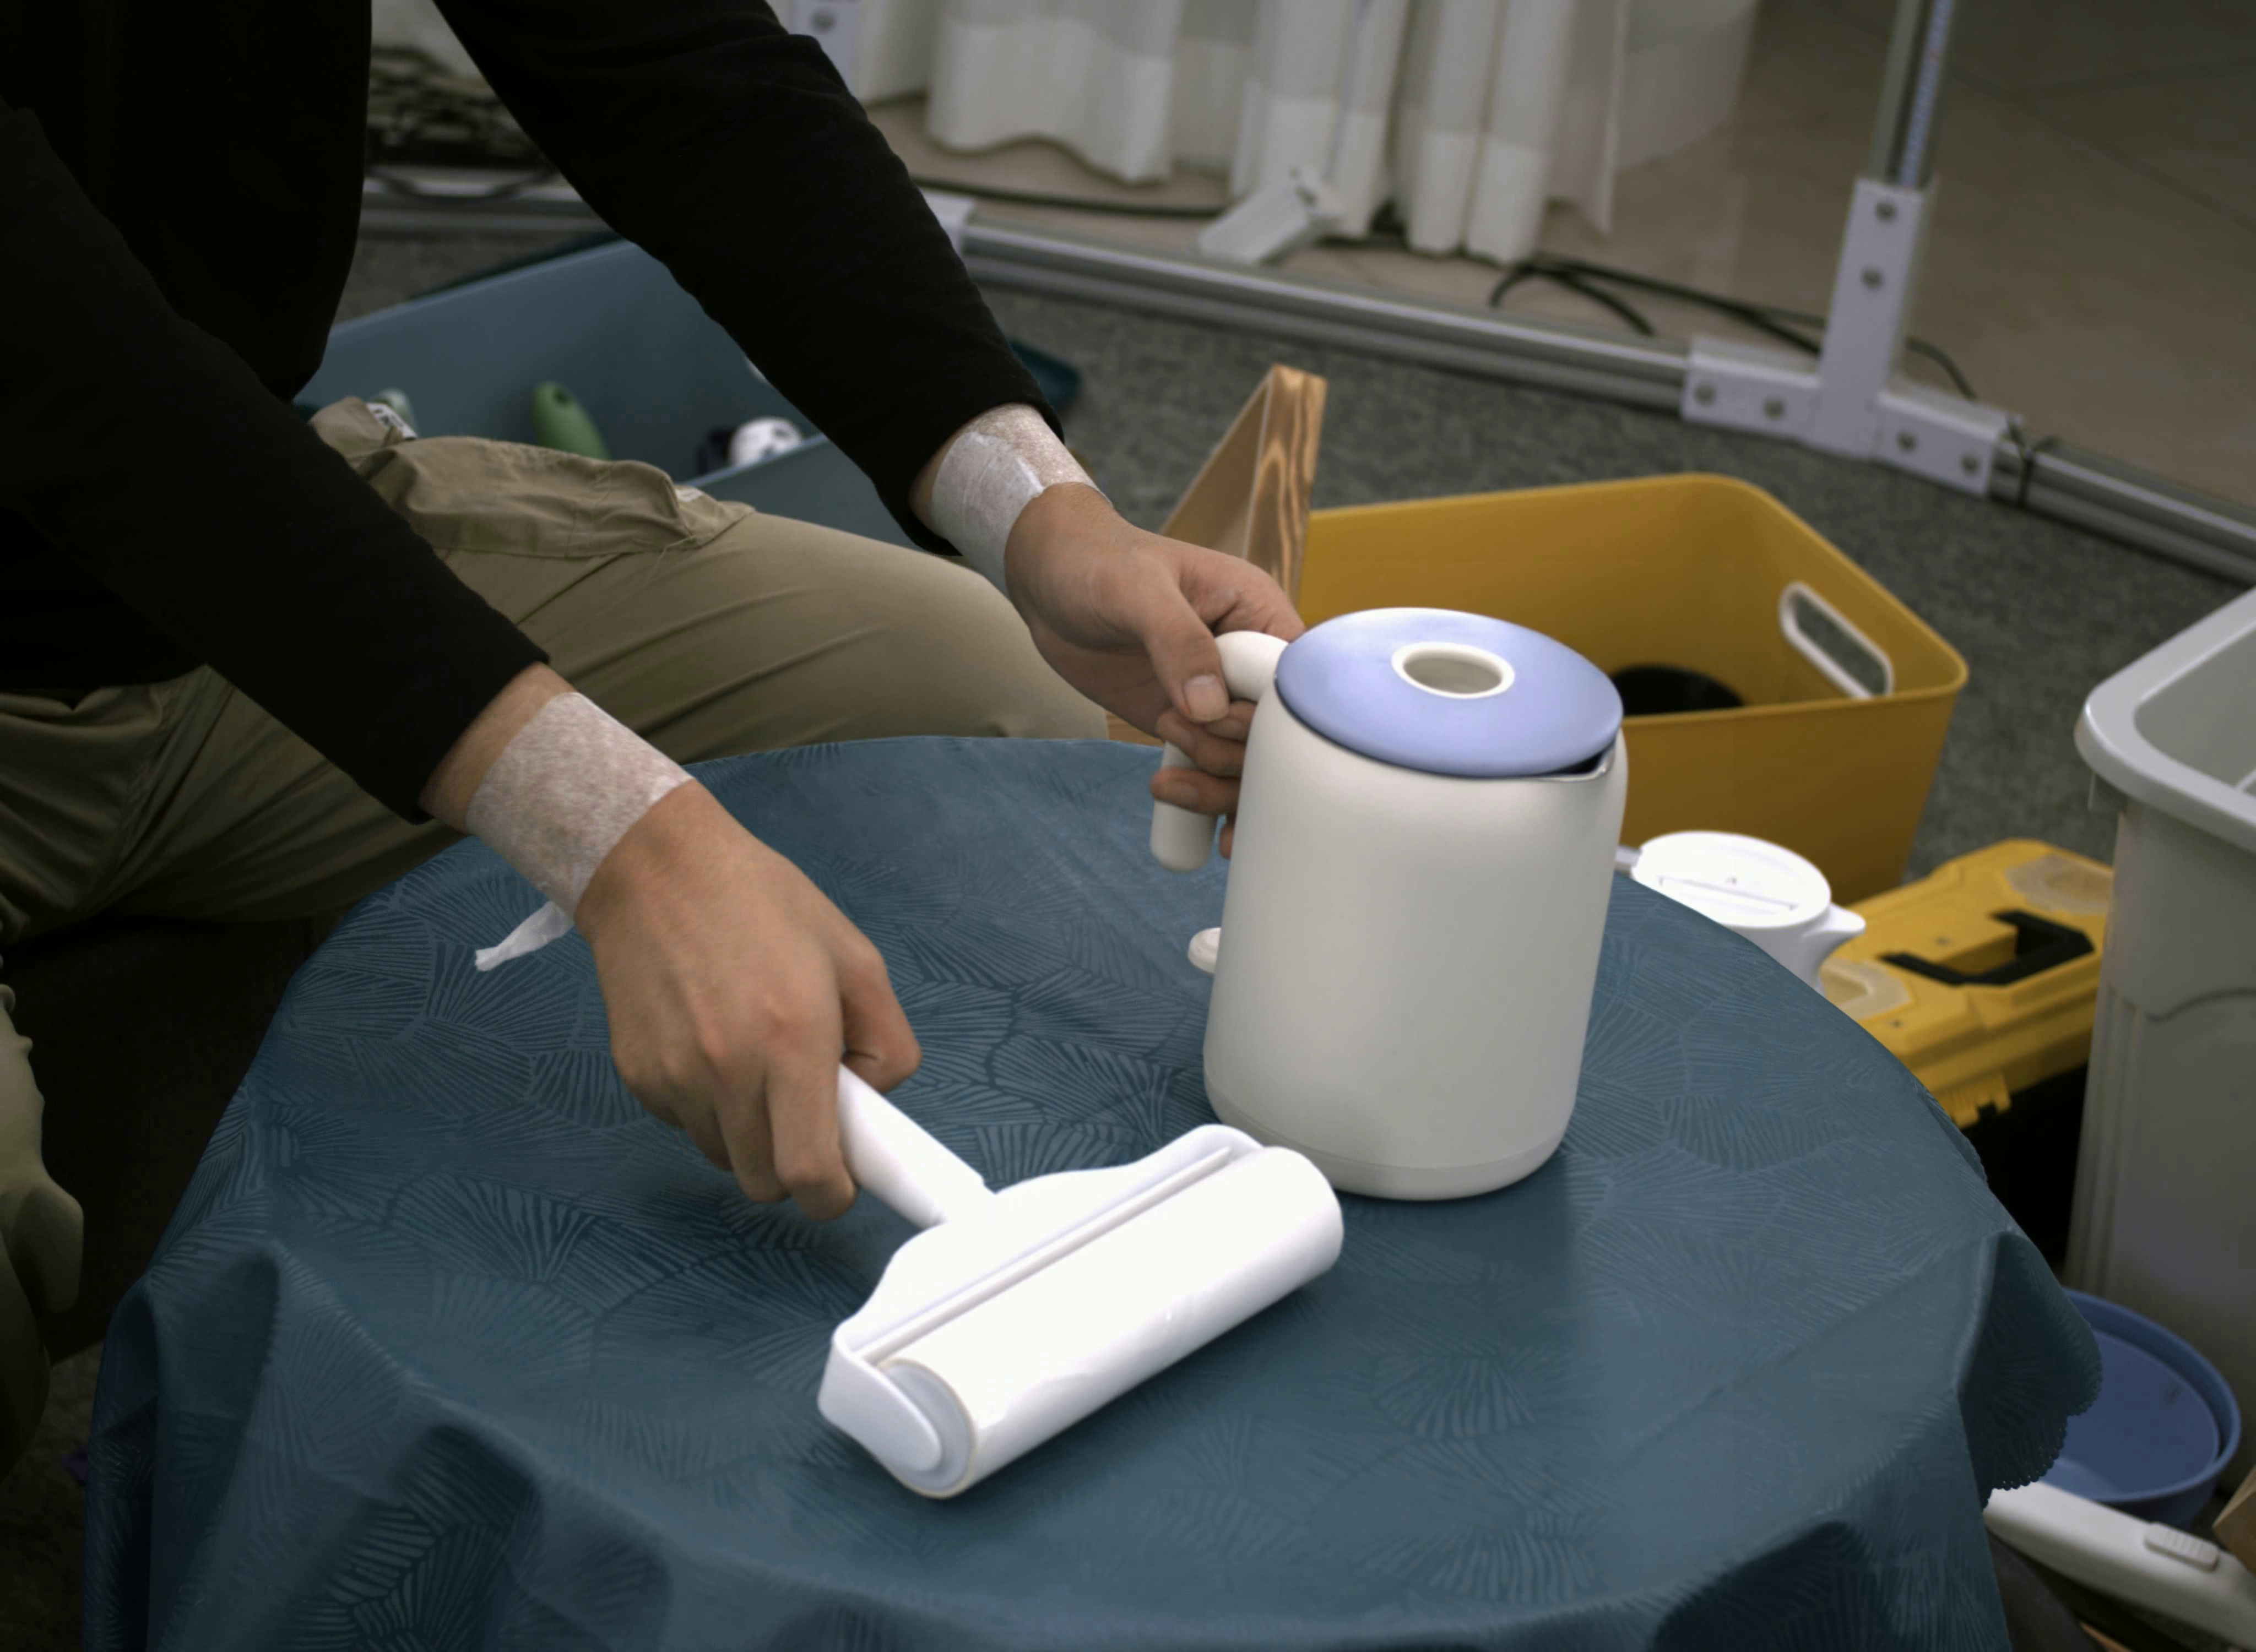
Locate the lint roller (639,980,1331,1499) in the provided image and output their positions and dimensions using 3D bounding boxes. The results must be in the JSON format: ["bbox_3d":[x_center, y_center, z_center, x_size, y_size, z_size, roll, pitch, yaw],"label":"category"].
[{"bbox_3d":[-0.073,0.108,1.725,0.227,0.048,0.202,35,38,25],"label":"lint roller"}]

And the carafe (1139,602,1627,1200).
[{"bbox_3d":[0.081,0.016,1.841,0.192,0.182,0.131,25,31,36],"label":"carafe"}]
